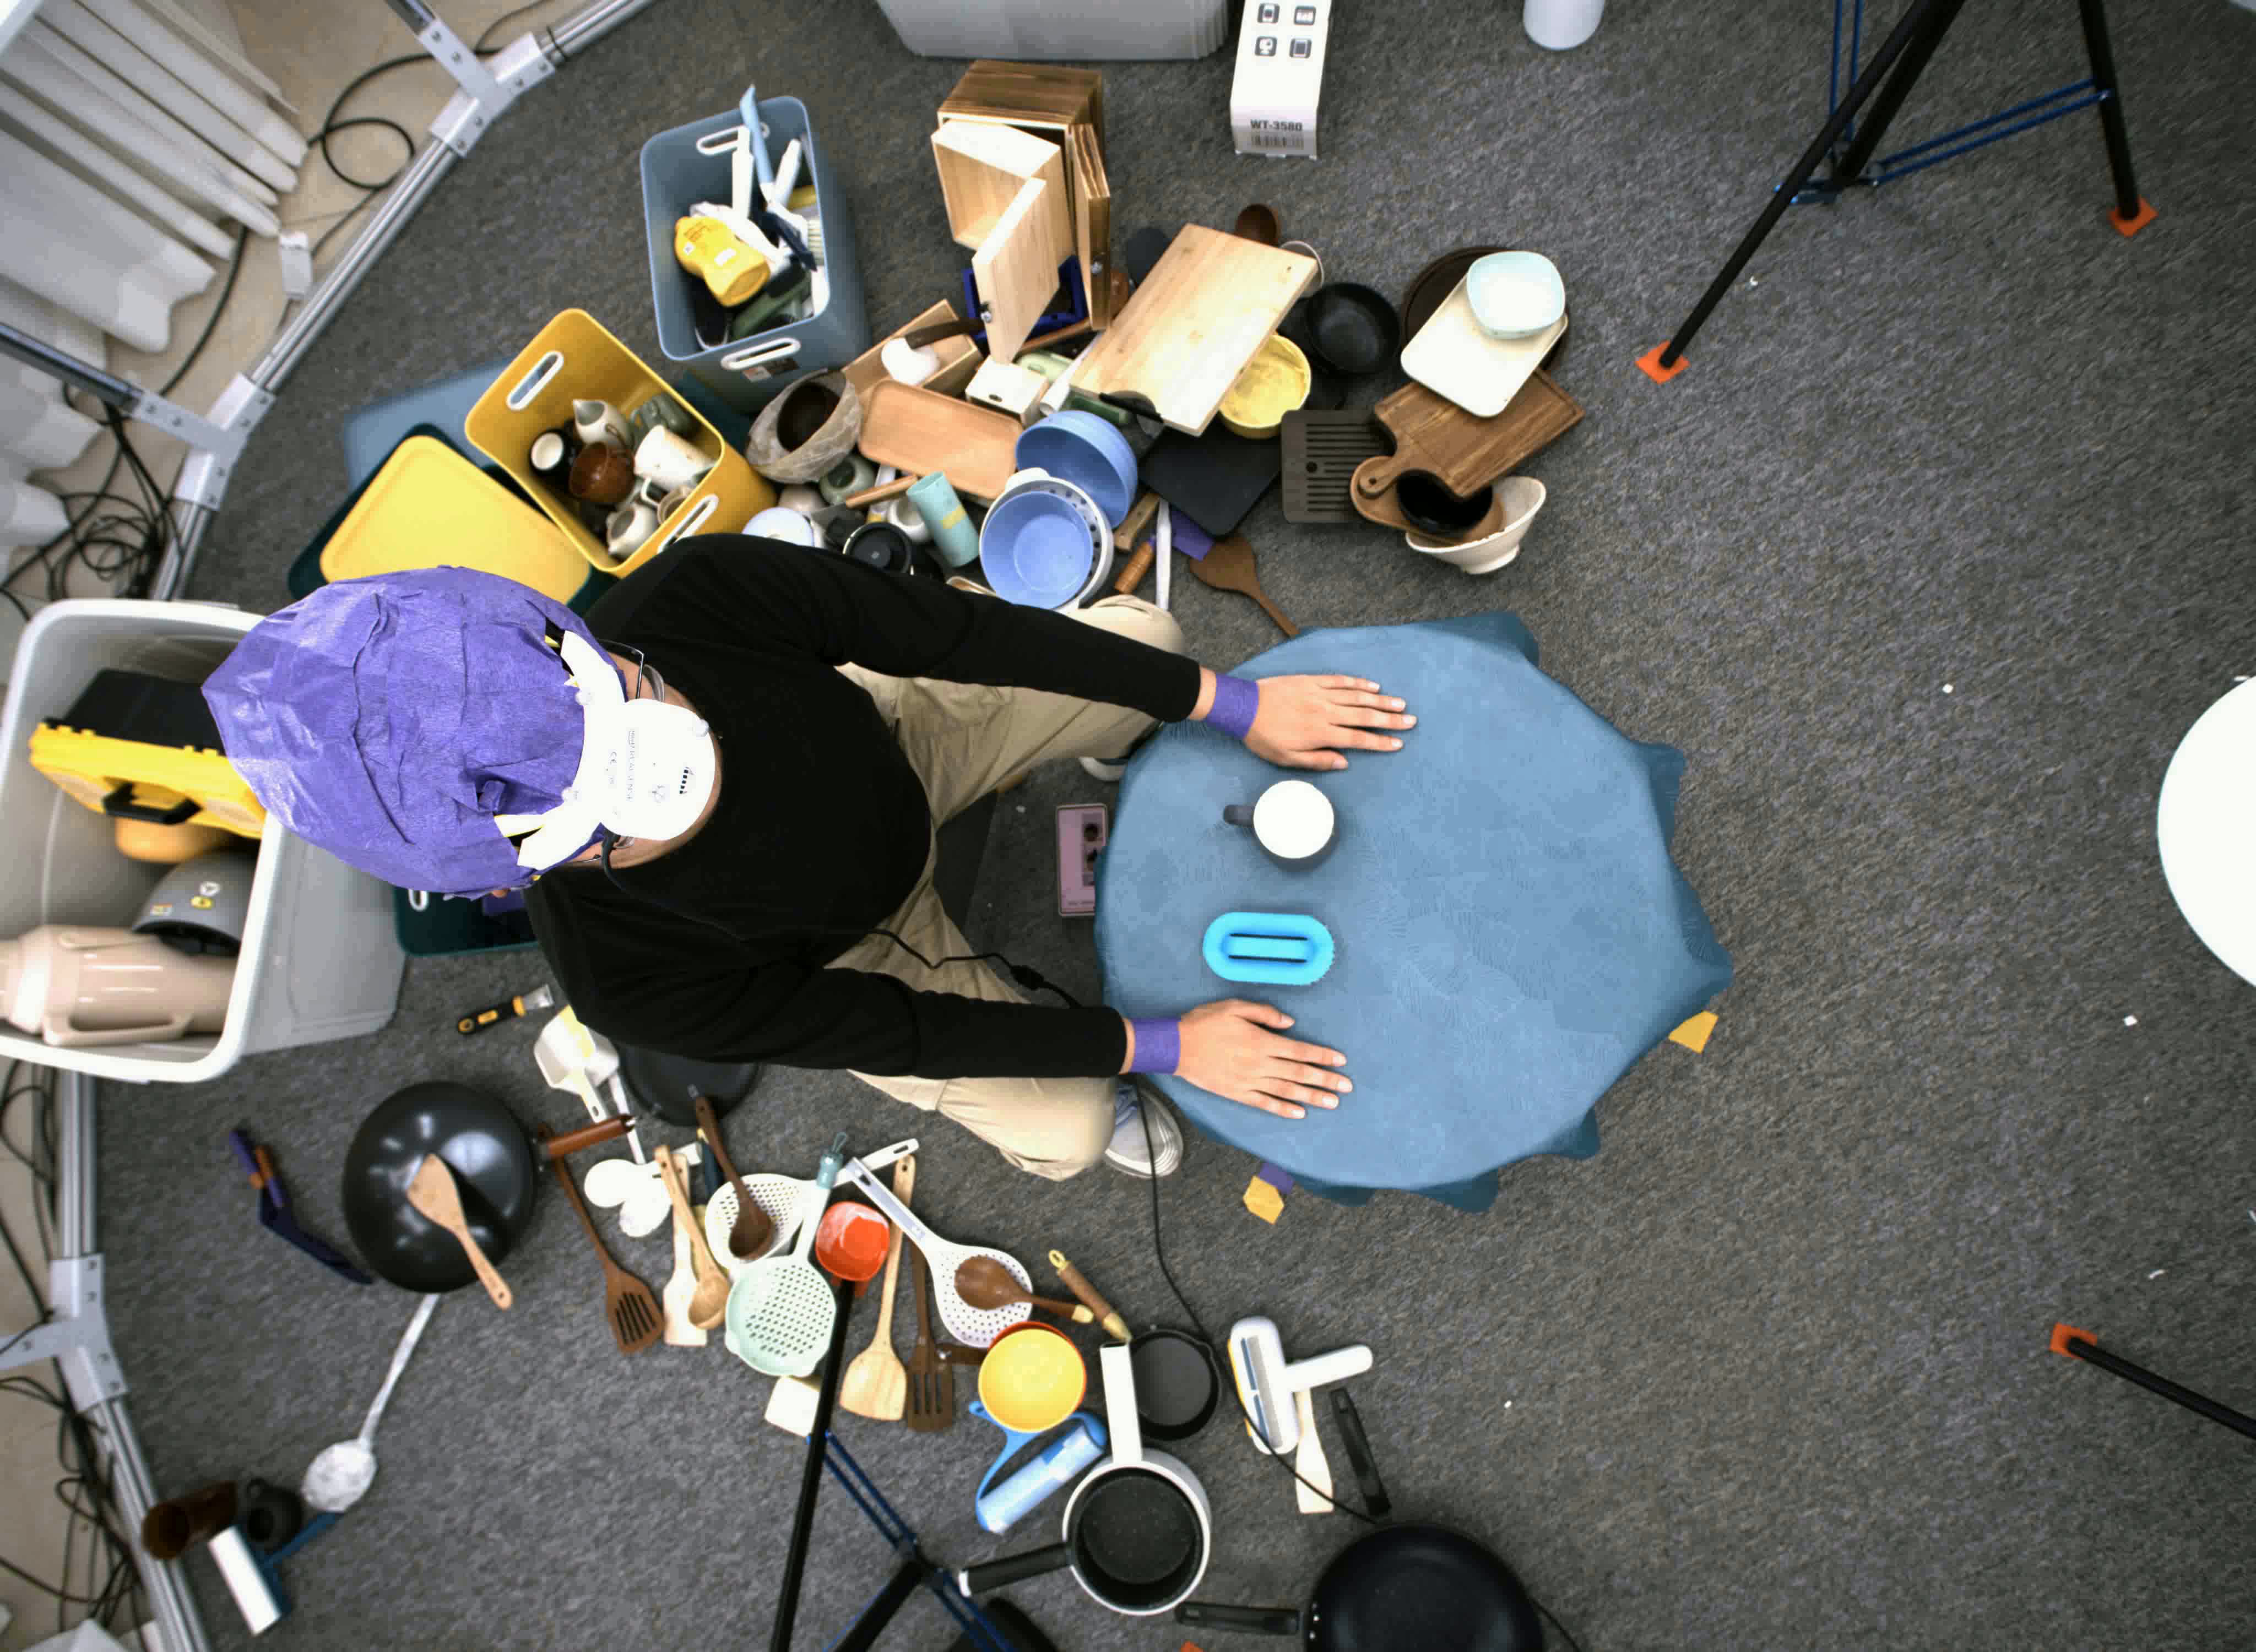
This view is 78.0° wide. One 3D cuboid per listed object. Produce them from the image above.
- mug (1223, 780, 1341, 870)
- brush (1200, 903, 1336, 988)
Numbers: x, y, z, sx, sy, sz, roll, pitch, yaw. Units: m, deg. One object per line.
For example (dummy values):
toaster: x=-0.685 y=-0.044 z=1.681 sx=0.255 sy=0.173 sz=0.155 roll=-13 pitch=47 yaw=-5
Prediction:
mug: x=0.159 y=-0.006 z=1.436 sx=0.123 sy=0.090 sz=0.093 roll=11 pitch=87 yaw=9
brush: x=0.144 y=0.124 z=1.446 sx=0.142 sy=0.063 sz=0.084 roll=4 pitch=91 yaw=12
